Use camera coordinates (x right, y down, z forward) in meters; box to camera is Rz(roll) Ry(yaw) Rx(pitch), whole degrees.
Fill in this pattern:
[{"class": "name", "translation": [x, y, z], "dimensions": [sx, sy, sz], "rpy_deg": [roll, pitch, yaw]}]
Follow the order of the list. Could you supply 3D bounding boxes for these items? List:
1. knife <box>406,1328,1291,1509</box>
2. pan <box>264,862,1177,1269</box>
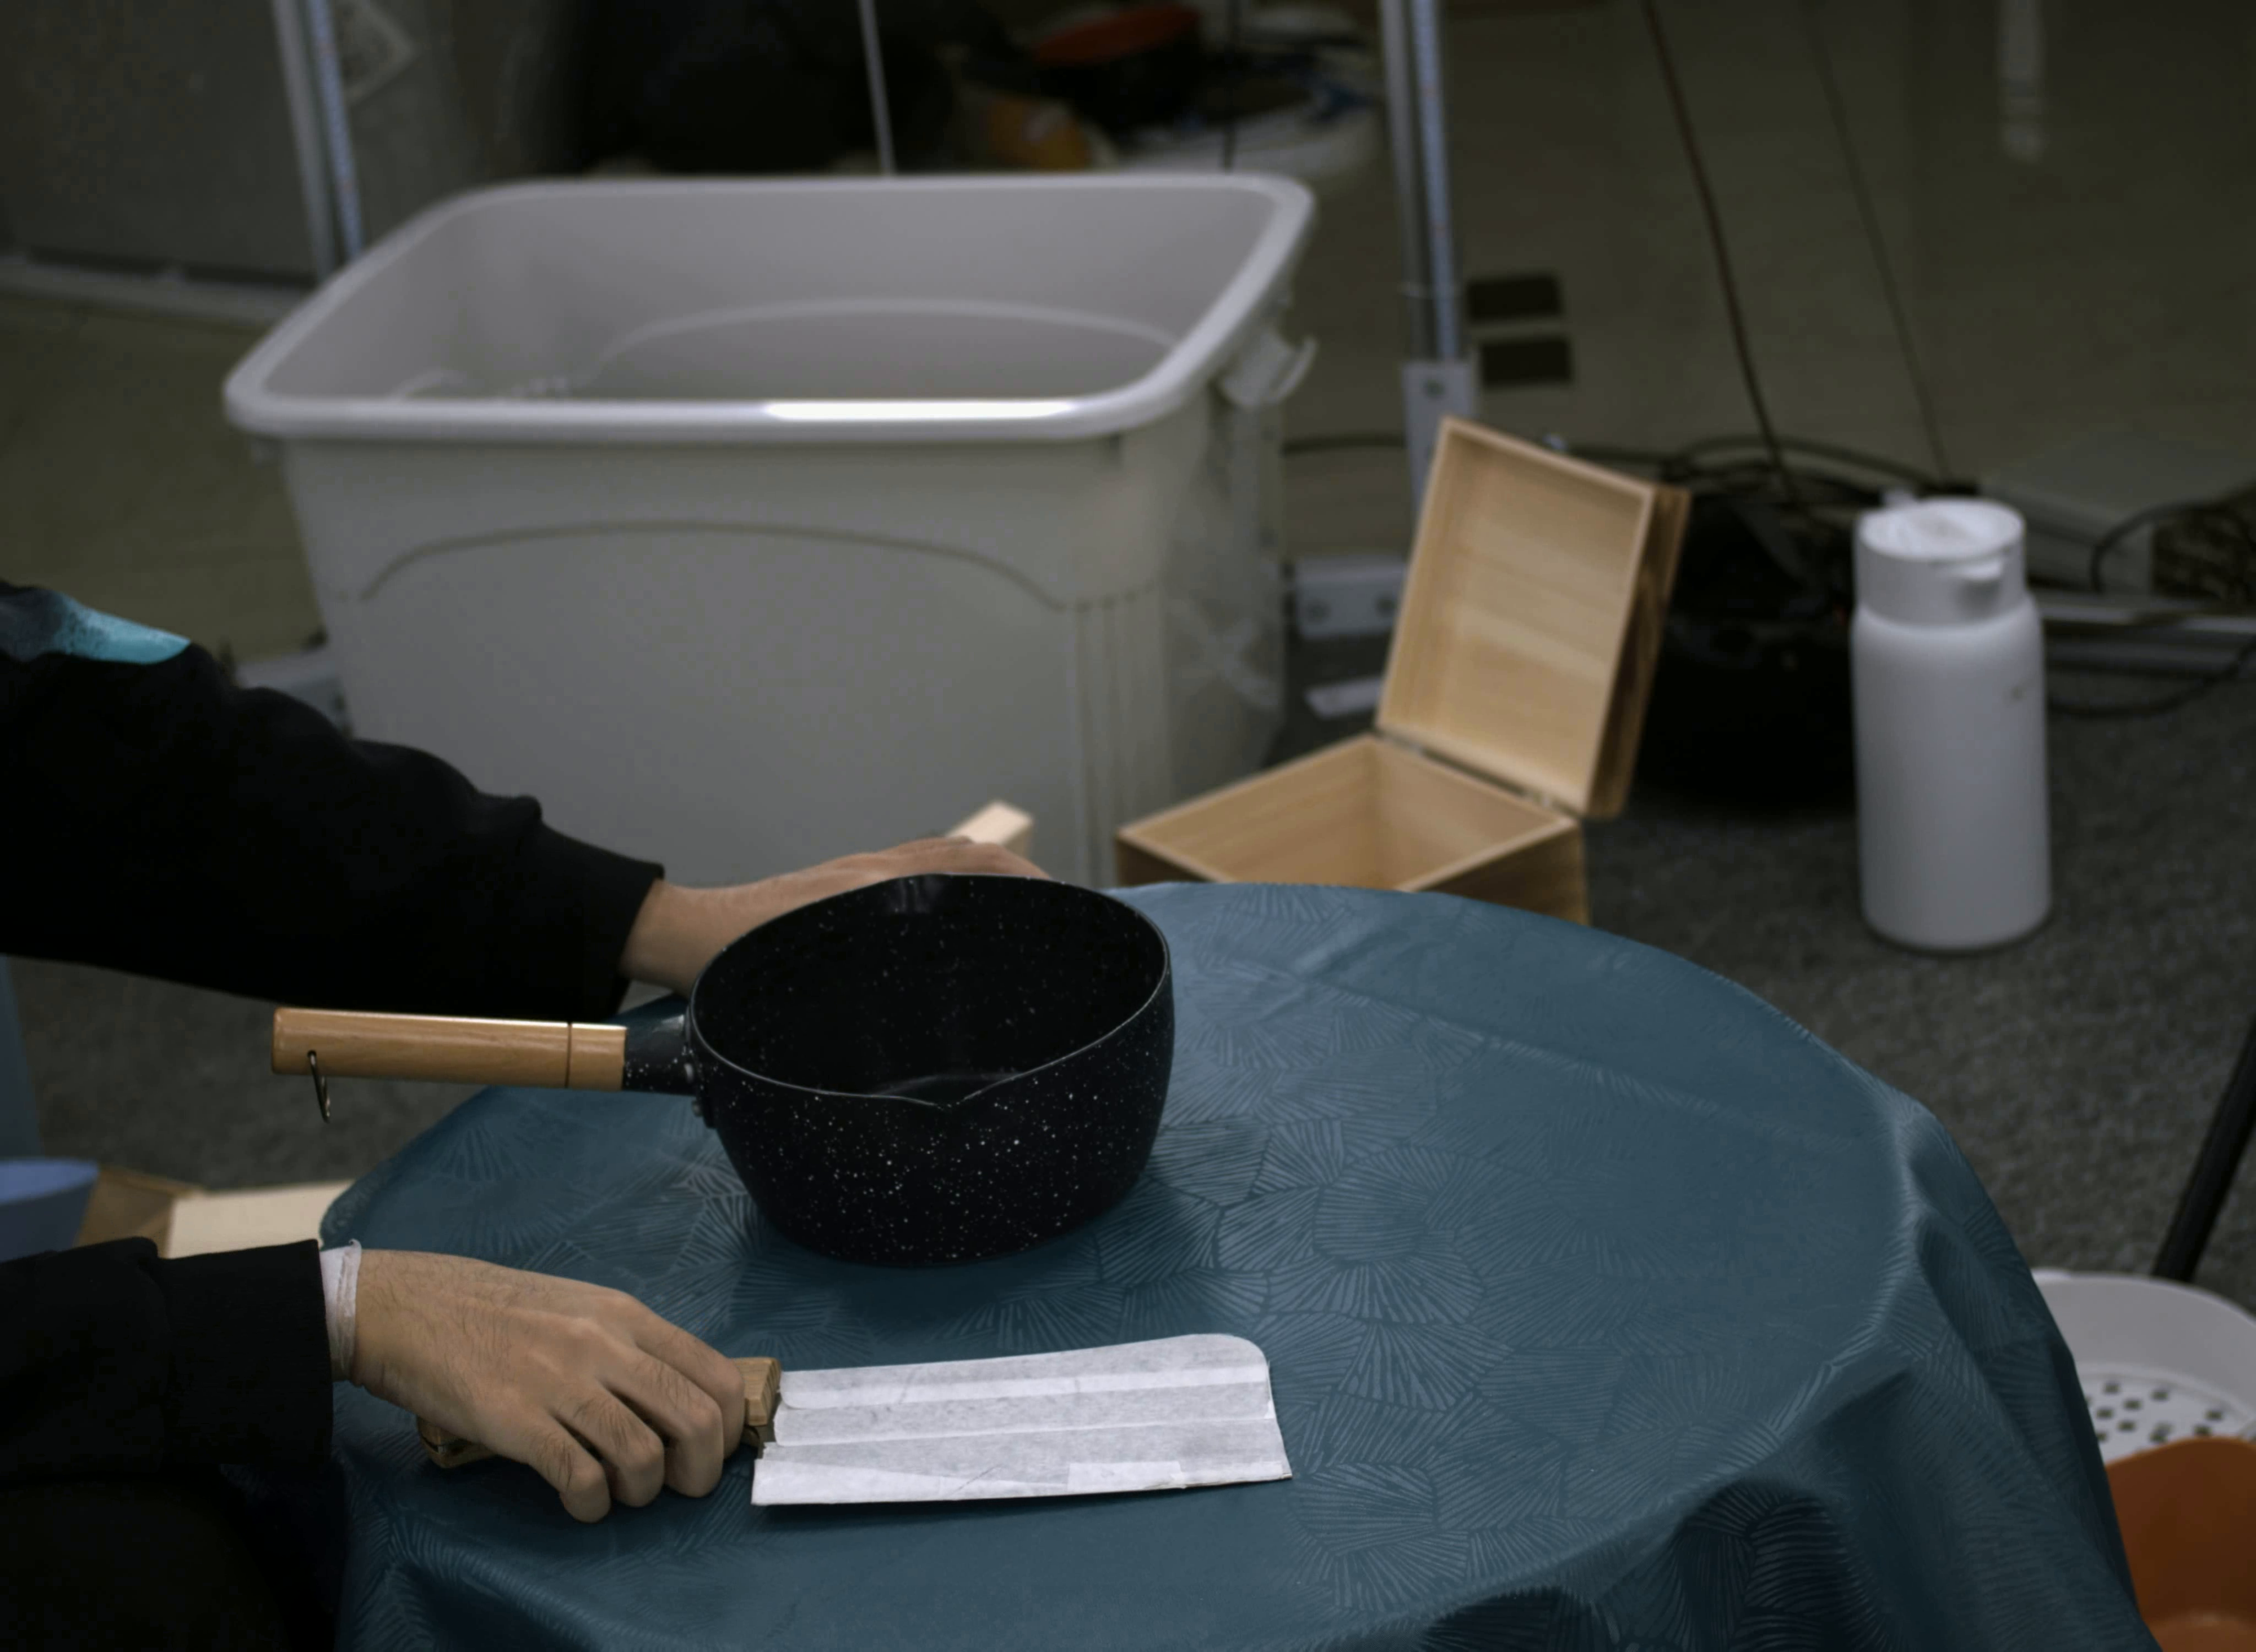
[{"class": "knife", "translation": [-0.099, 0.209, 2.000], "dimensions": [0.315, 0.022, 0.112], "rpy_deg": [-2, 26, 4]}, {"class": "pan", "translation": [-0.150, 0.096, 2.144], "dimensions": [0.342, 0.110, 0.204], "rpy_deg": [-8, 26, -5]}]
